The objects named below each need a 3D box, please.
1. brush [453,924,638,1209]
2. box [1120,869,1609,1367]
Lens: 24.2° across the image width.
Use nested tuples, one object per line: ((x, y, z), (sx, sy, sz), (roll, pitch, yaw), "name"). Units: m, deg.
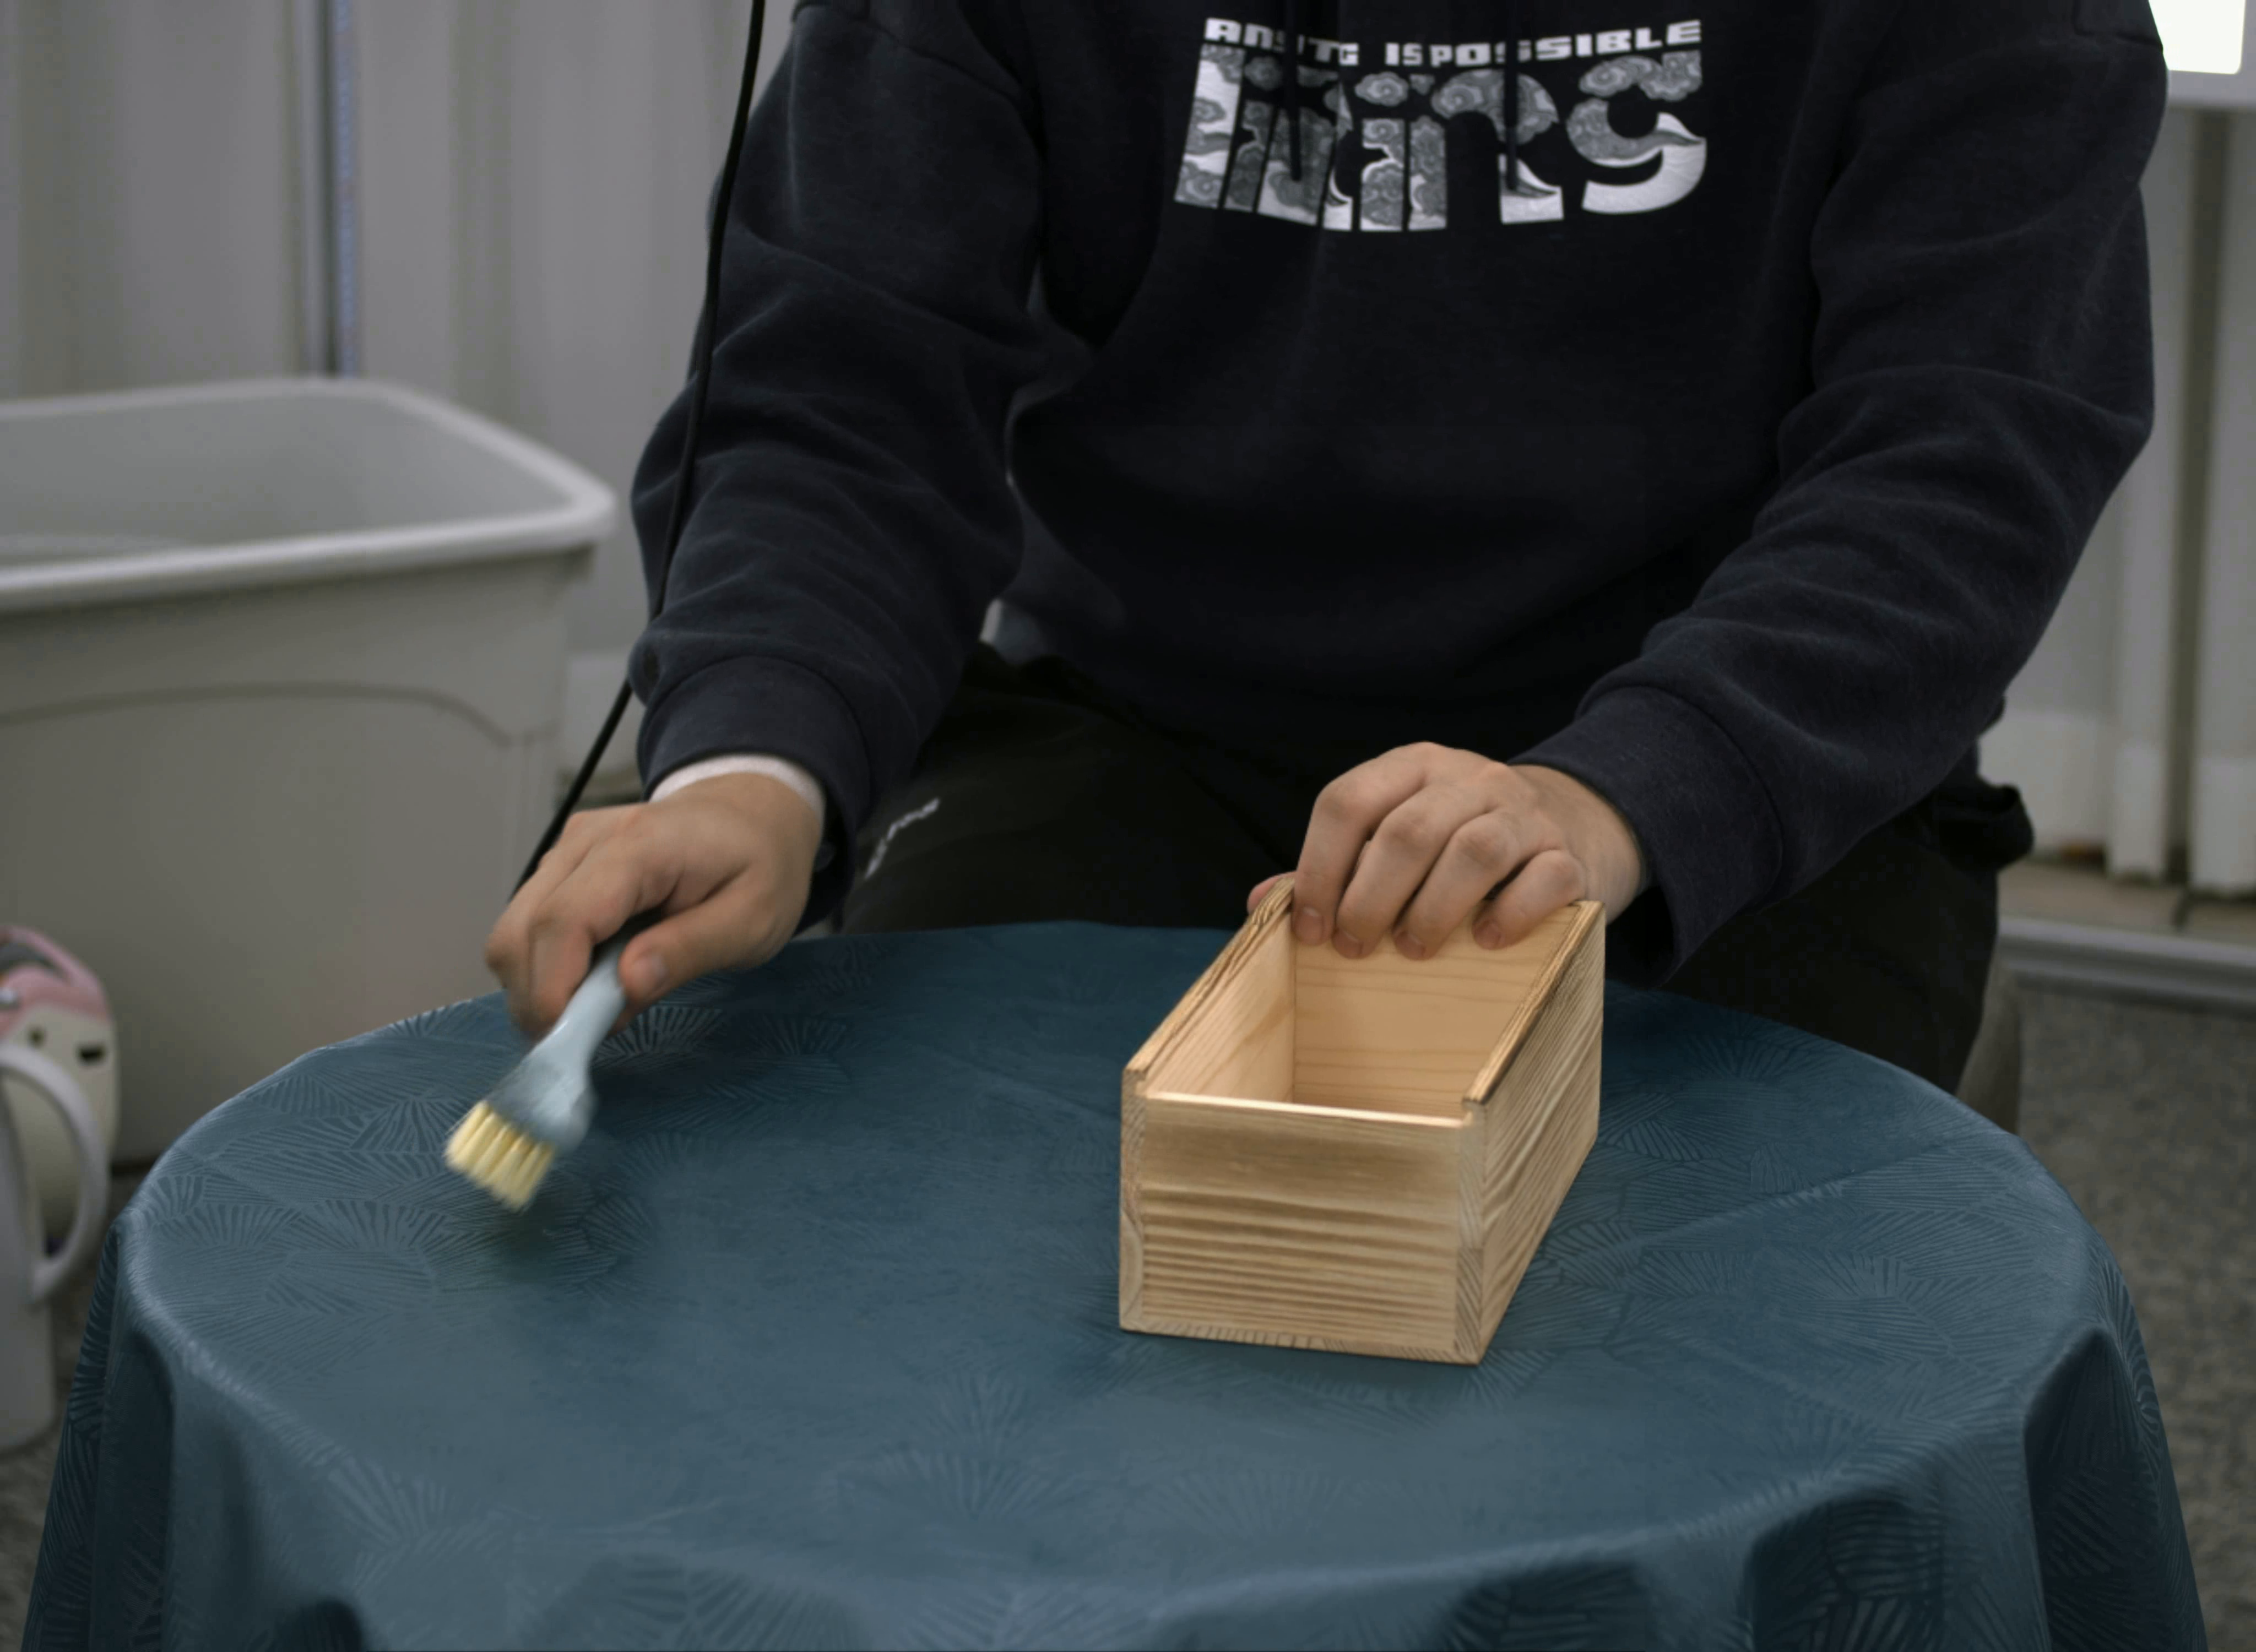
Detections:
((-0.181, 0.073, 1.650), (0.038, 0.050, 0.227), (31, 13, -7), "brush")
((0.075, 0.083, 1.583), (0.107, 0.081, 0.211), (5, 17, 13), "box")
